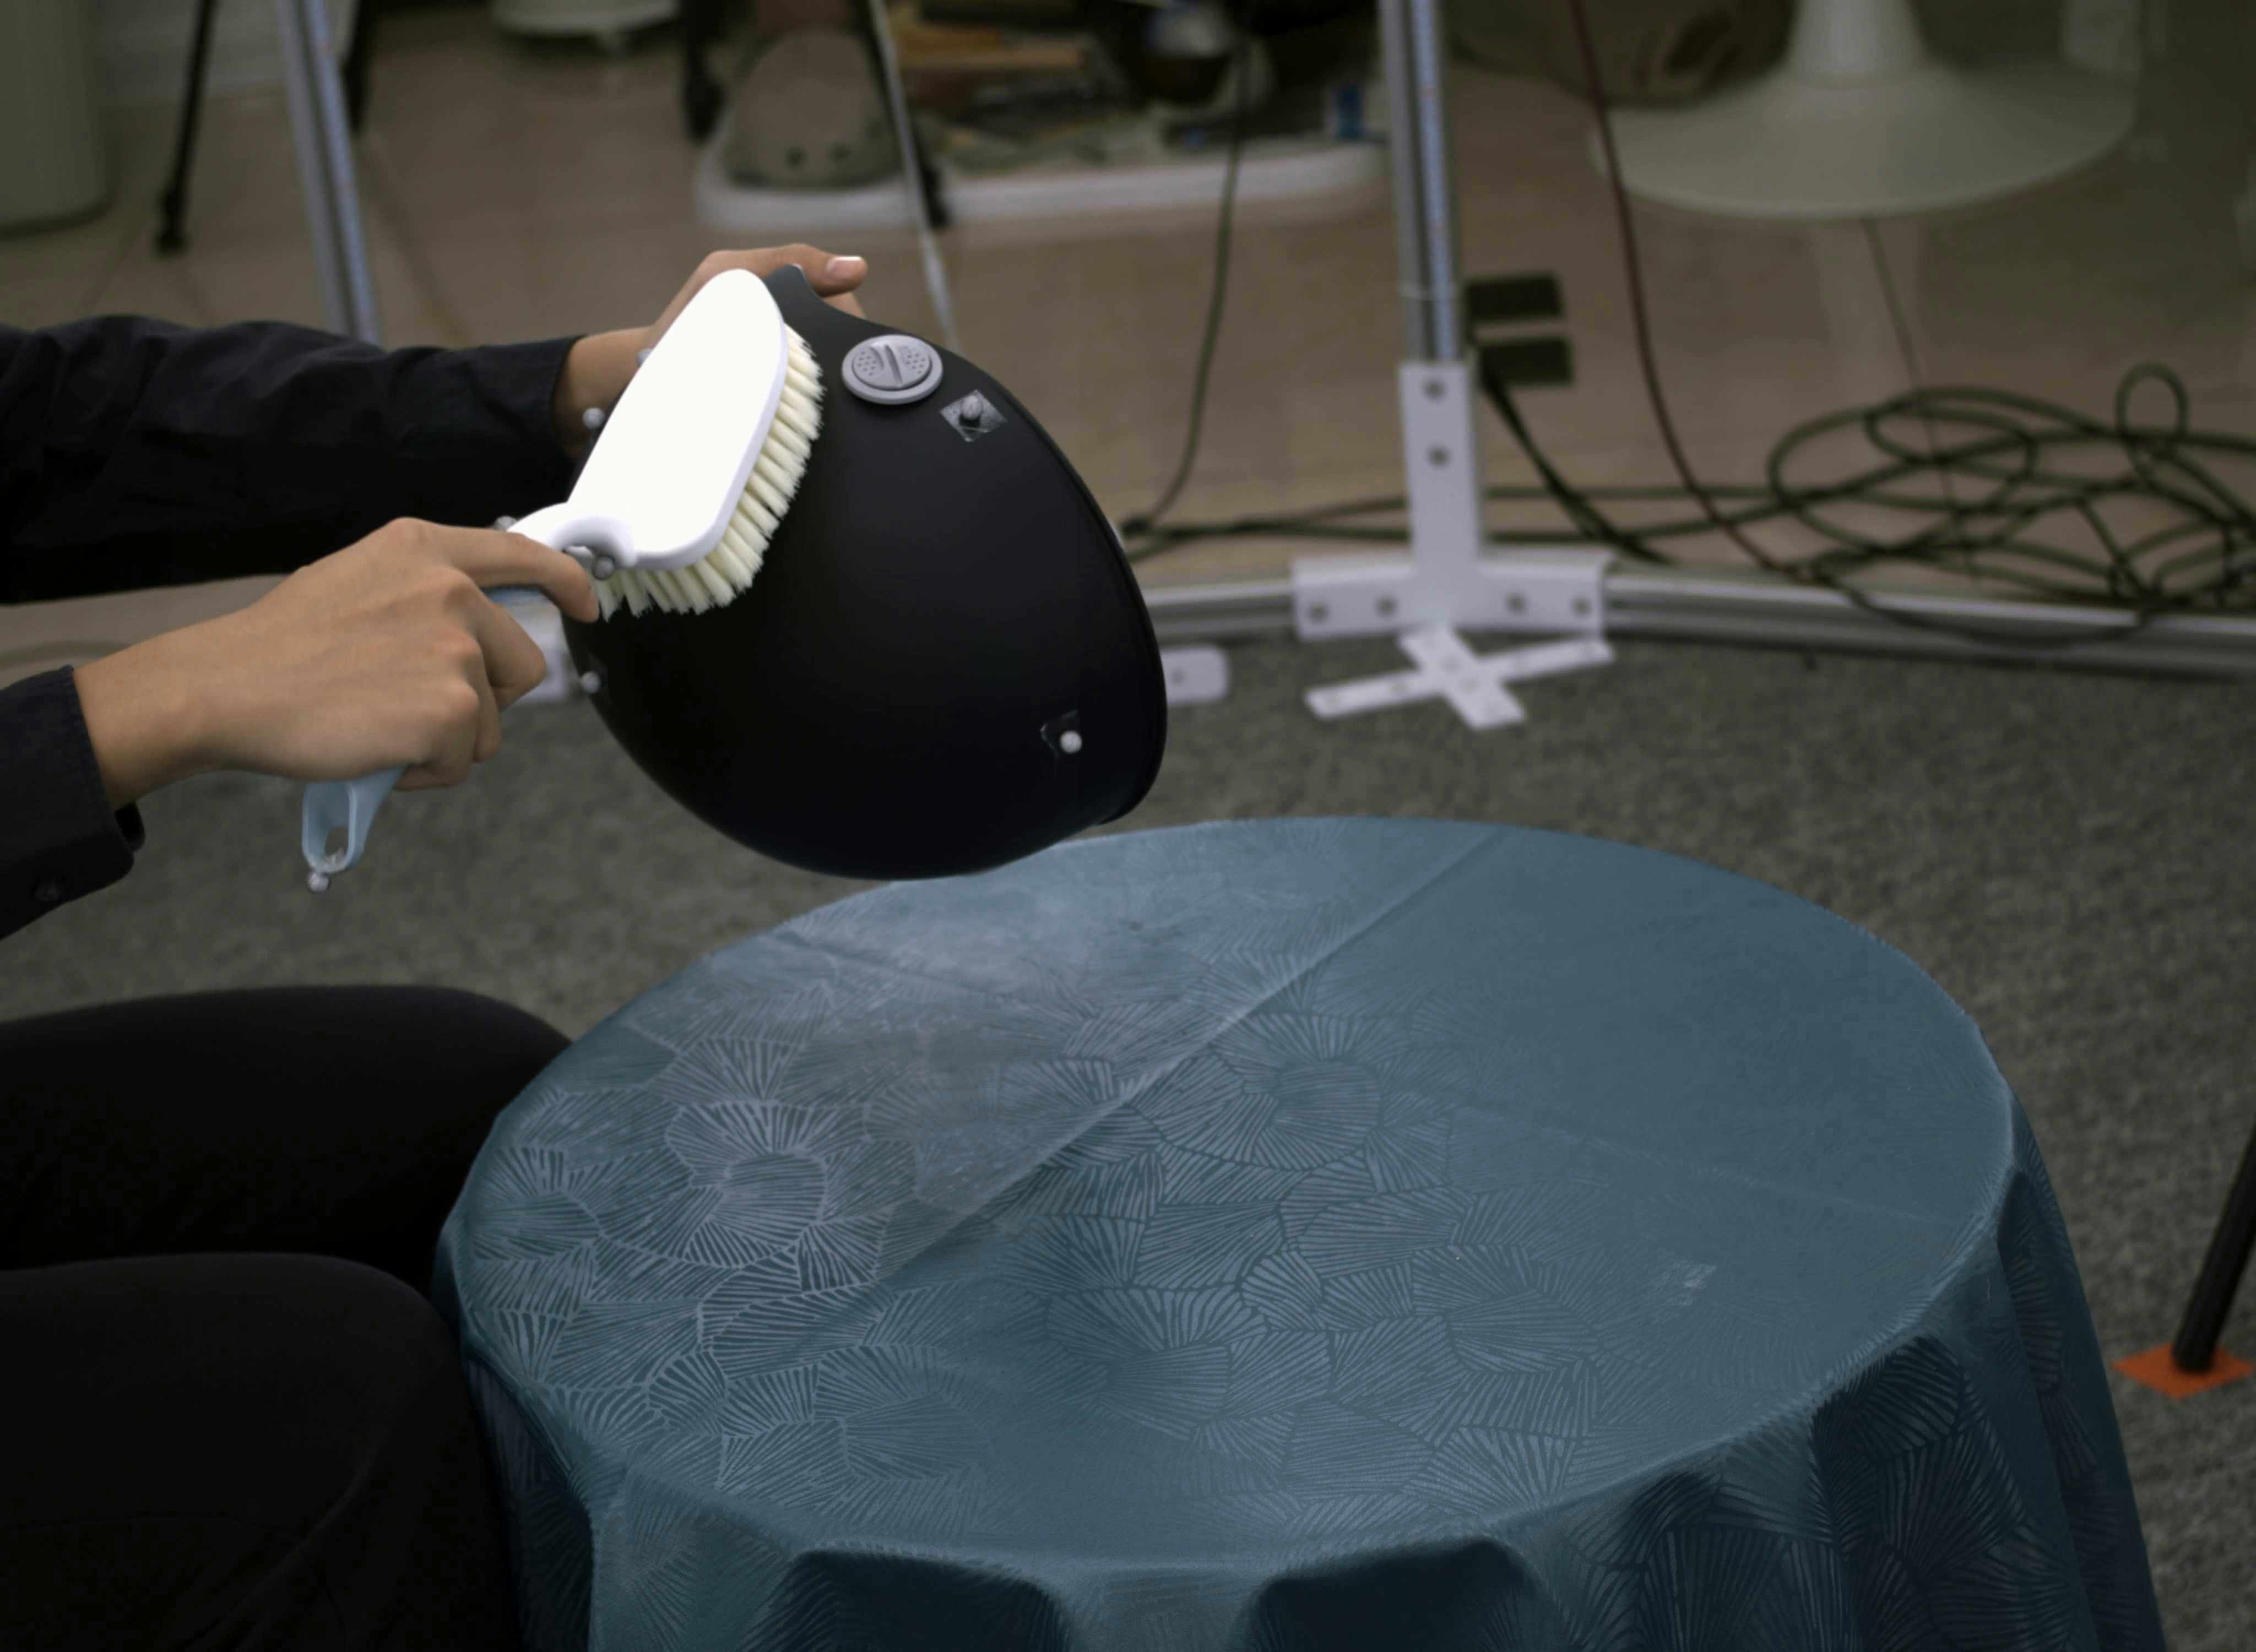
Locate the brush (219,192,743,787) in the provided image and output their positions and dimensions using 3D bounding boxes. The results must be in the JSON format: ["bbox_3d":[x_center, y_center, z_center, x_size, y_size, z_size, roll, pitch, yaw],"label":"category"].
[{"bbox_3d":[-0.226,-0.102,2.011,0.084,0.085,0.320,-40,15,50],"label":"brush"}]

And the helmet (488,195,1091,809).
[{"bbox_3d":[-0.148,-0.110,2.177,0.165,0.234,0.269,-28,41,-23],"label":"helmet"}]
